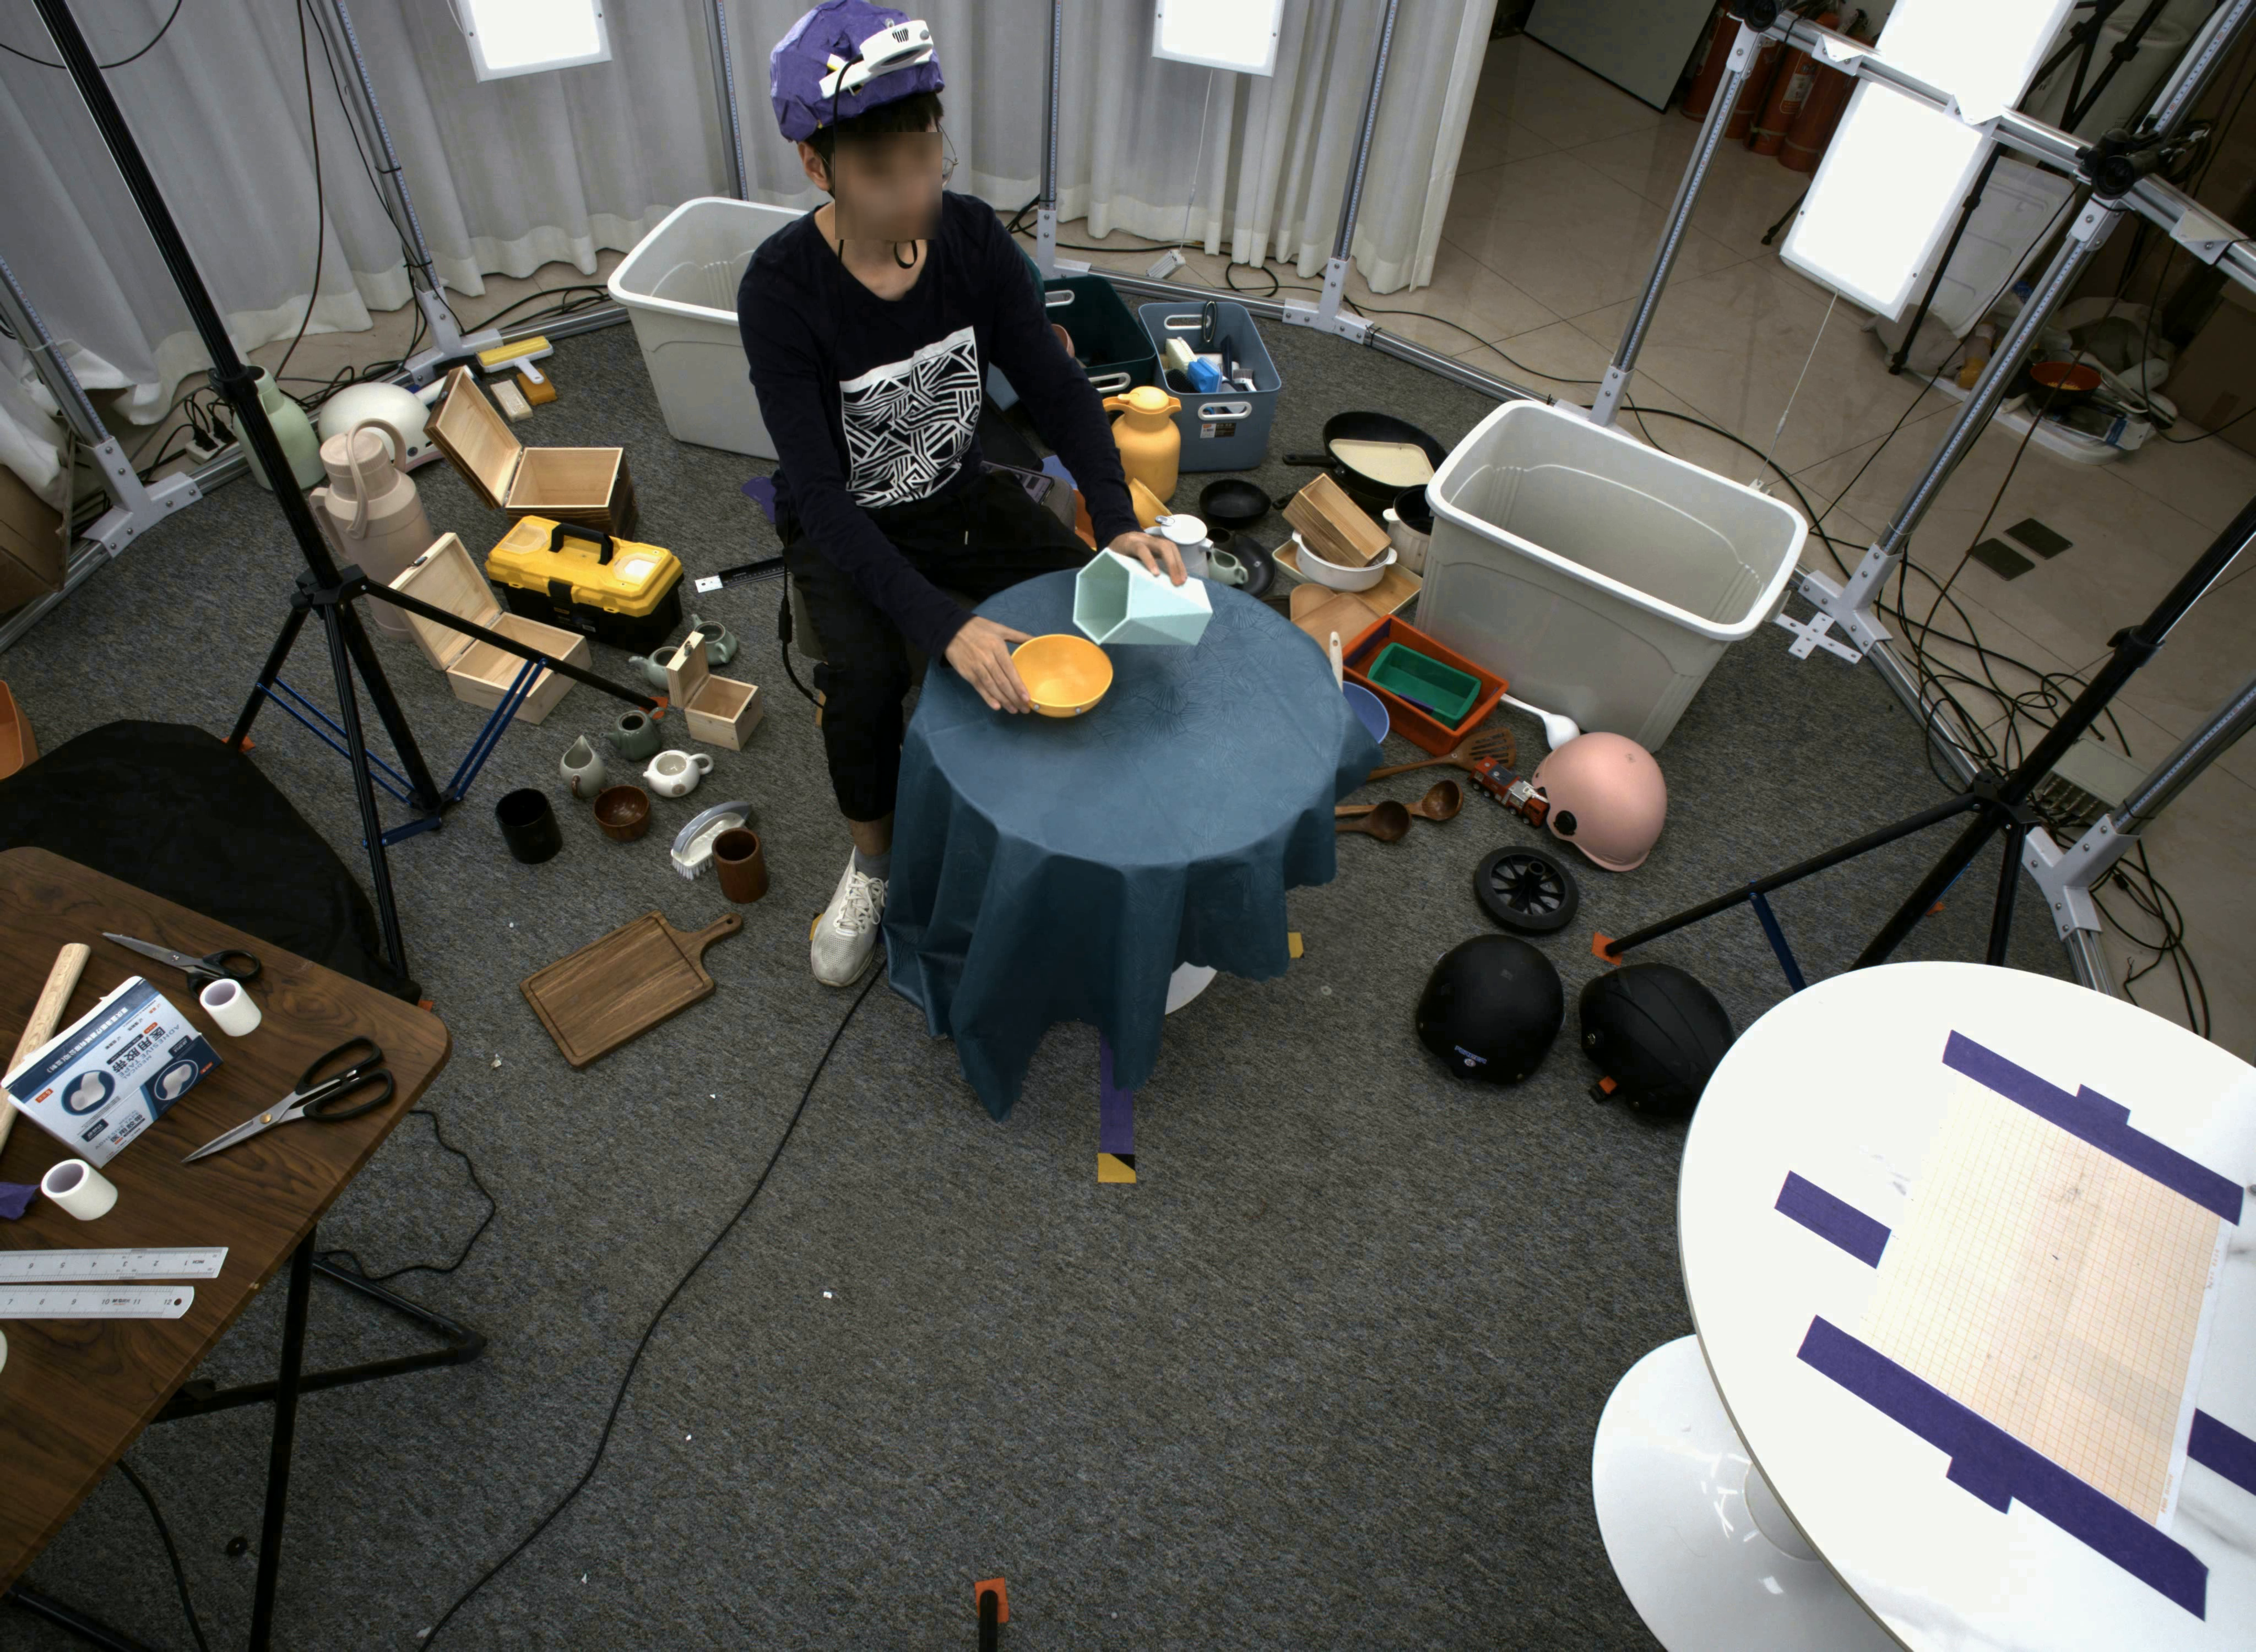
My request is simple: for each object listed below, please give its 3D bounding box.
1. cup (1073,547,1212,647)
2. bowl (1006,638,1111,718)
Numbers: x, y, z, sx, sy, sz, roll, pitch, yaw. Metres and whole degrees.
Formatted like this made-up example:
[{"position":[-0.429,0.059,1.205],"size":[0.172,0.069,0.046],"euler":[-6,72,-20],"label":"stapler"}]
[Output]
[{"position":[0.024,-0.305,1.775],"size":[0.162,0.129,0.117],"euler":[4,59,-40],"label":"cup"},{"position":[-0.097,-0.196,1.798],"size":[0.145,0.058,0.149],"euler":[2,46,-2],"label":"bowl"}]
